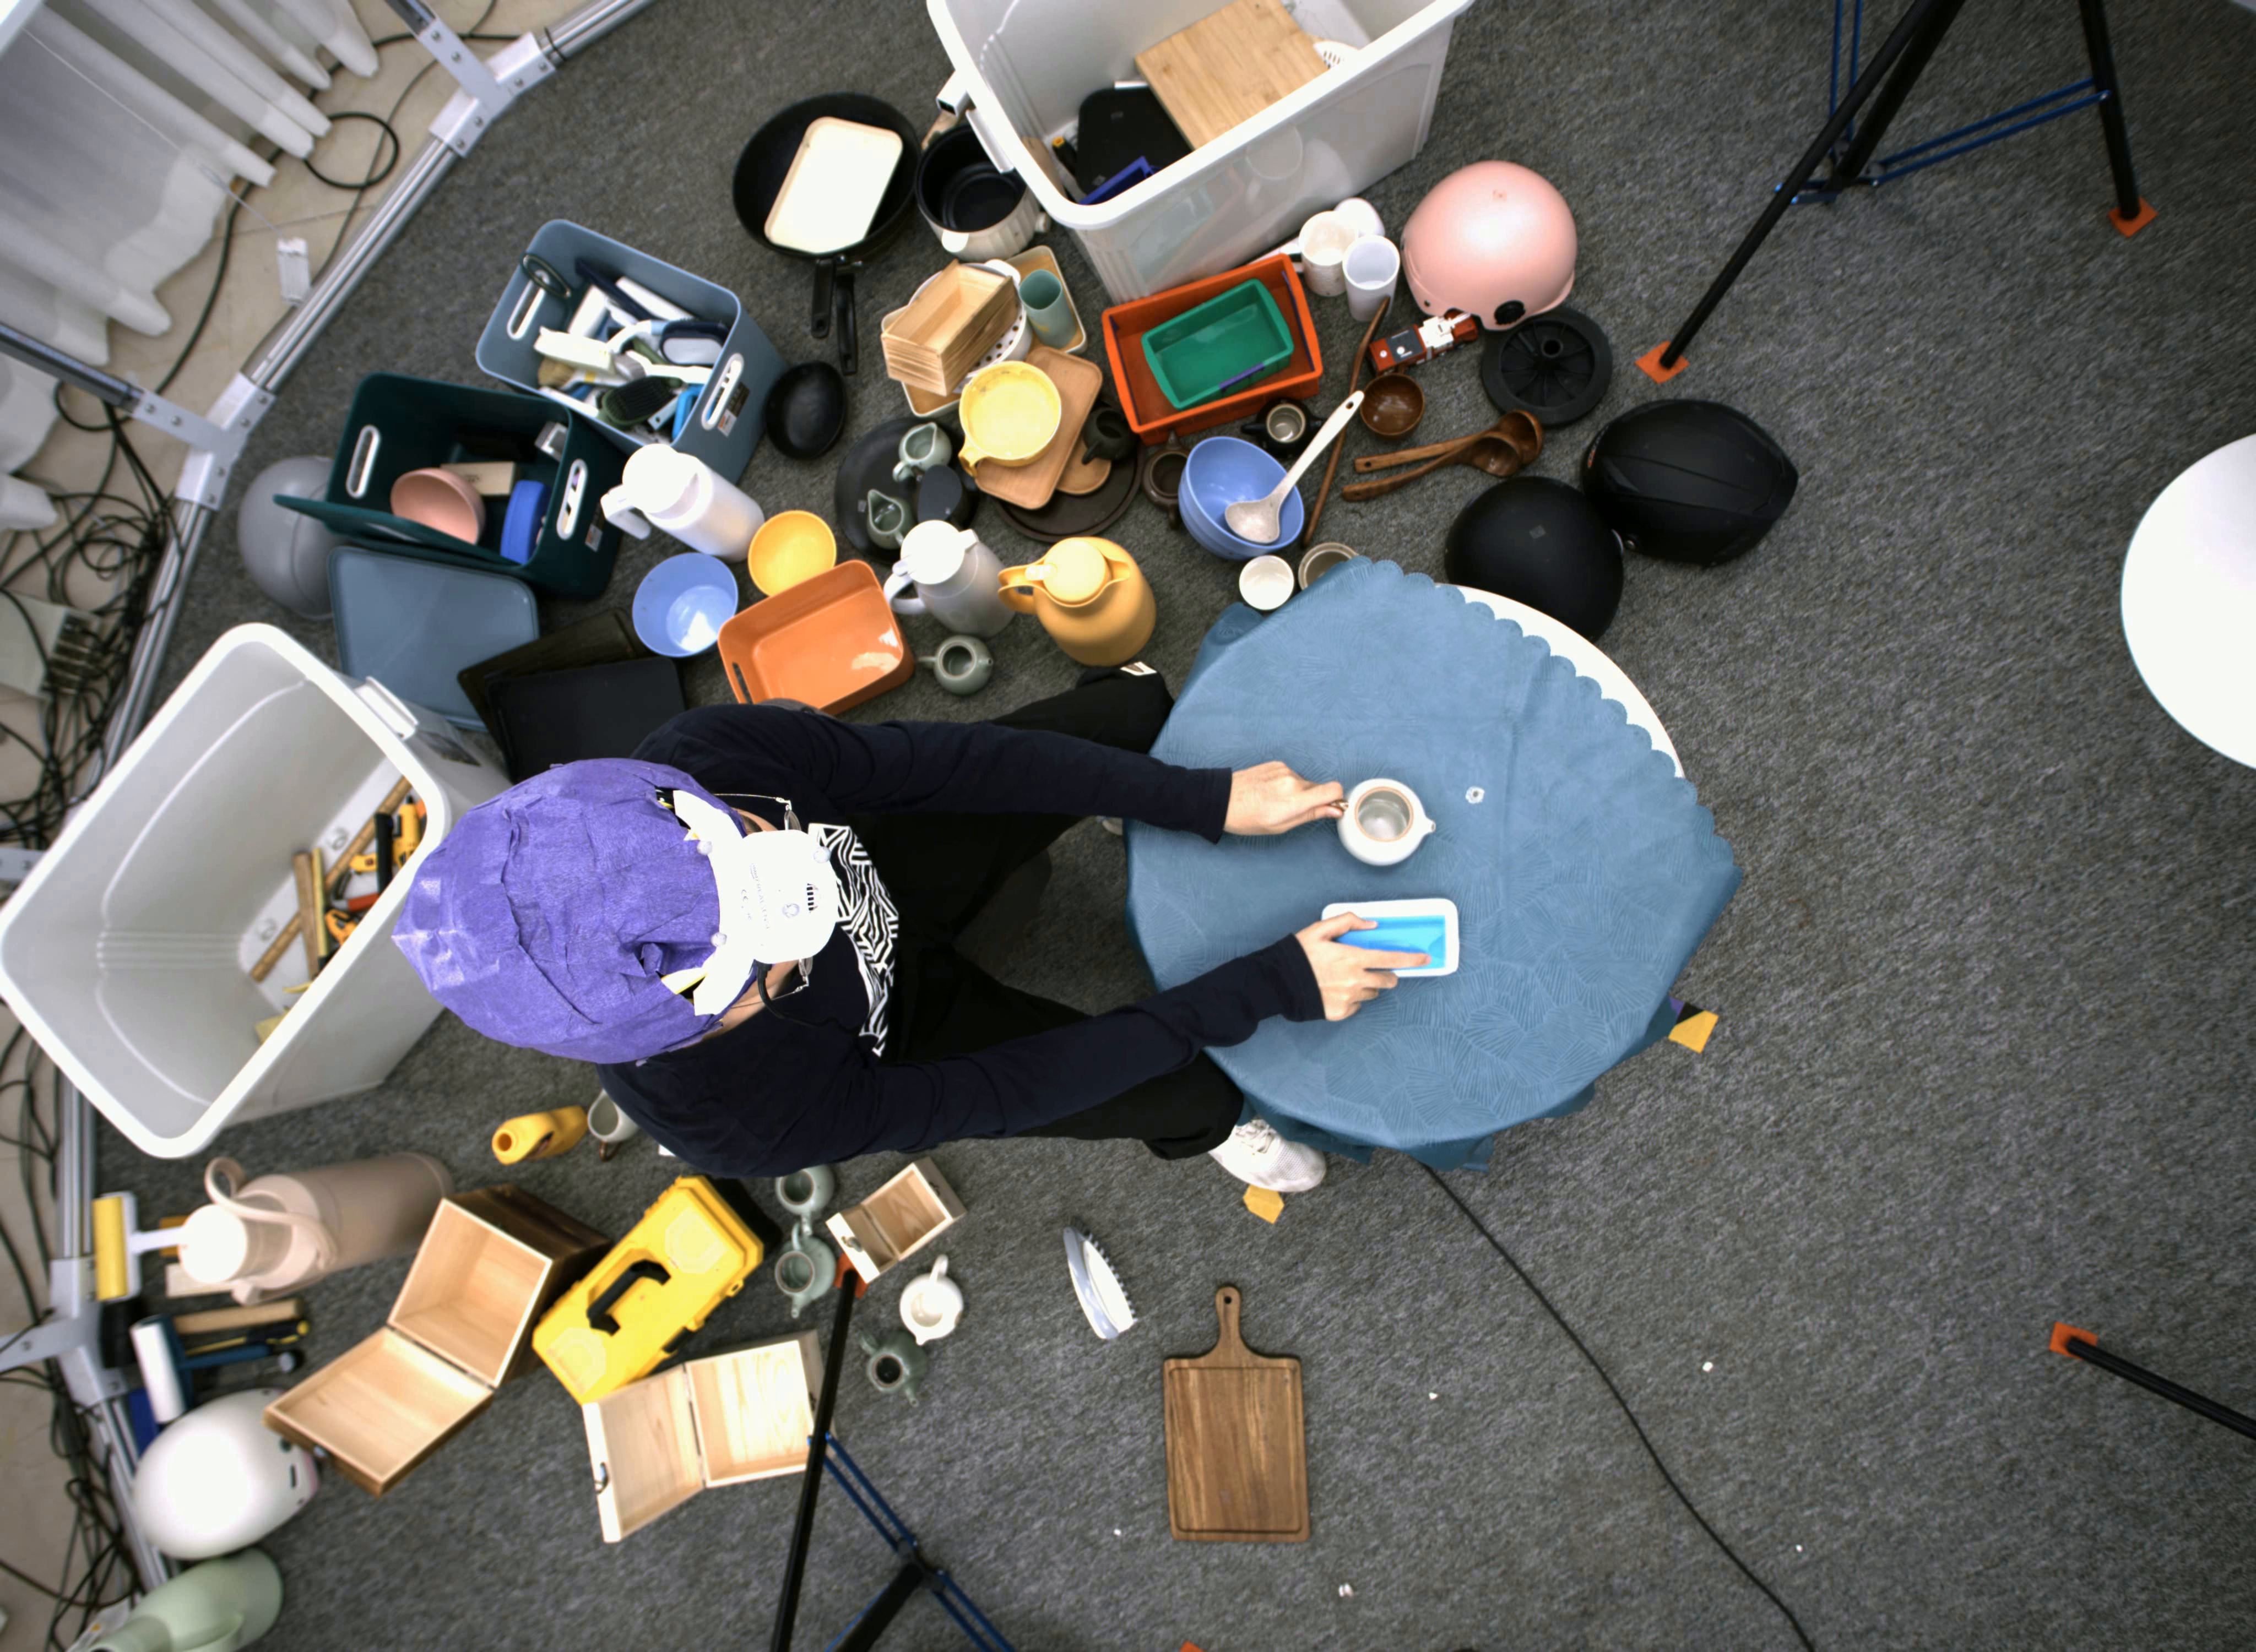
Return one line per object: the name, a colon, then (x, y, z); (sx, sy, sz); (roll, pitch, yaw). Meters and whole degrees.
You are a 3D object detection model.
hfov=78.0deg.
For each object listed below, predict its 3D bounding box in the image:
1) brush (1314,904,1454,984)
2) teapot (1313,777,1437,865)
brush: (0.264, 0.122, 1.421); (0.144, 0.055, 0.084); (0, 94, 6)
teapot: (0.255, -0.008, 1.432); (0.128, 0.060, 0.091); (12, 85, 7)
